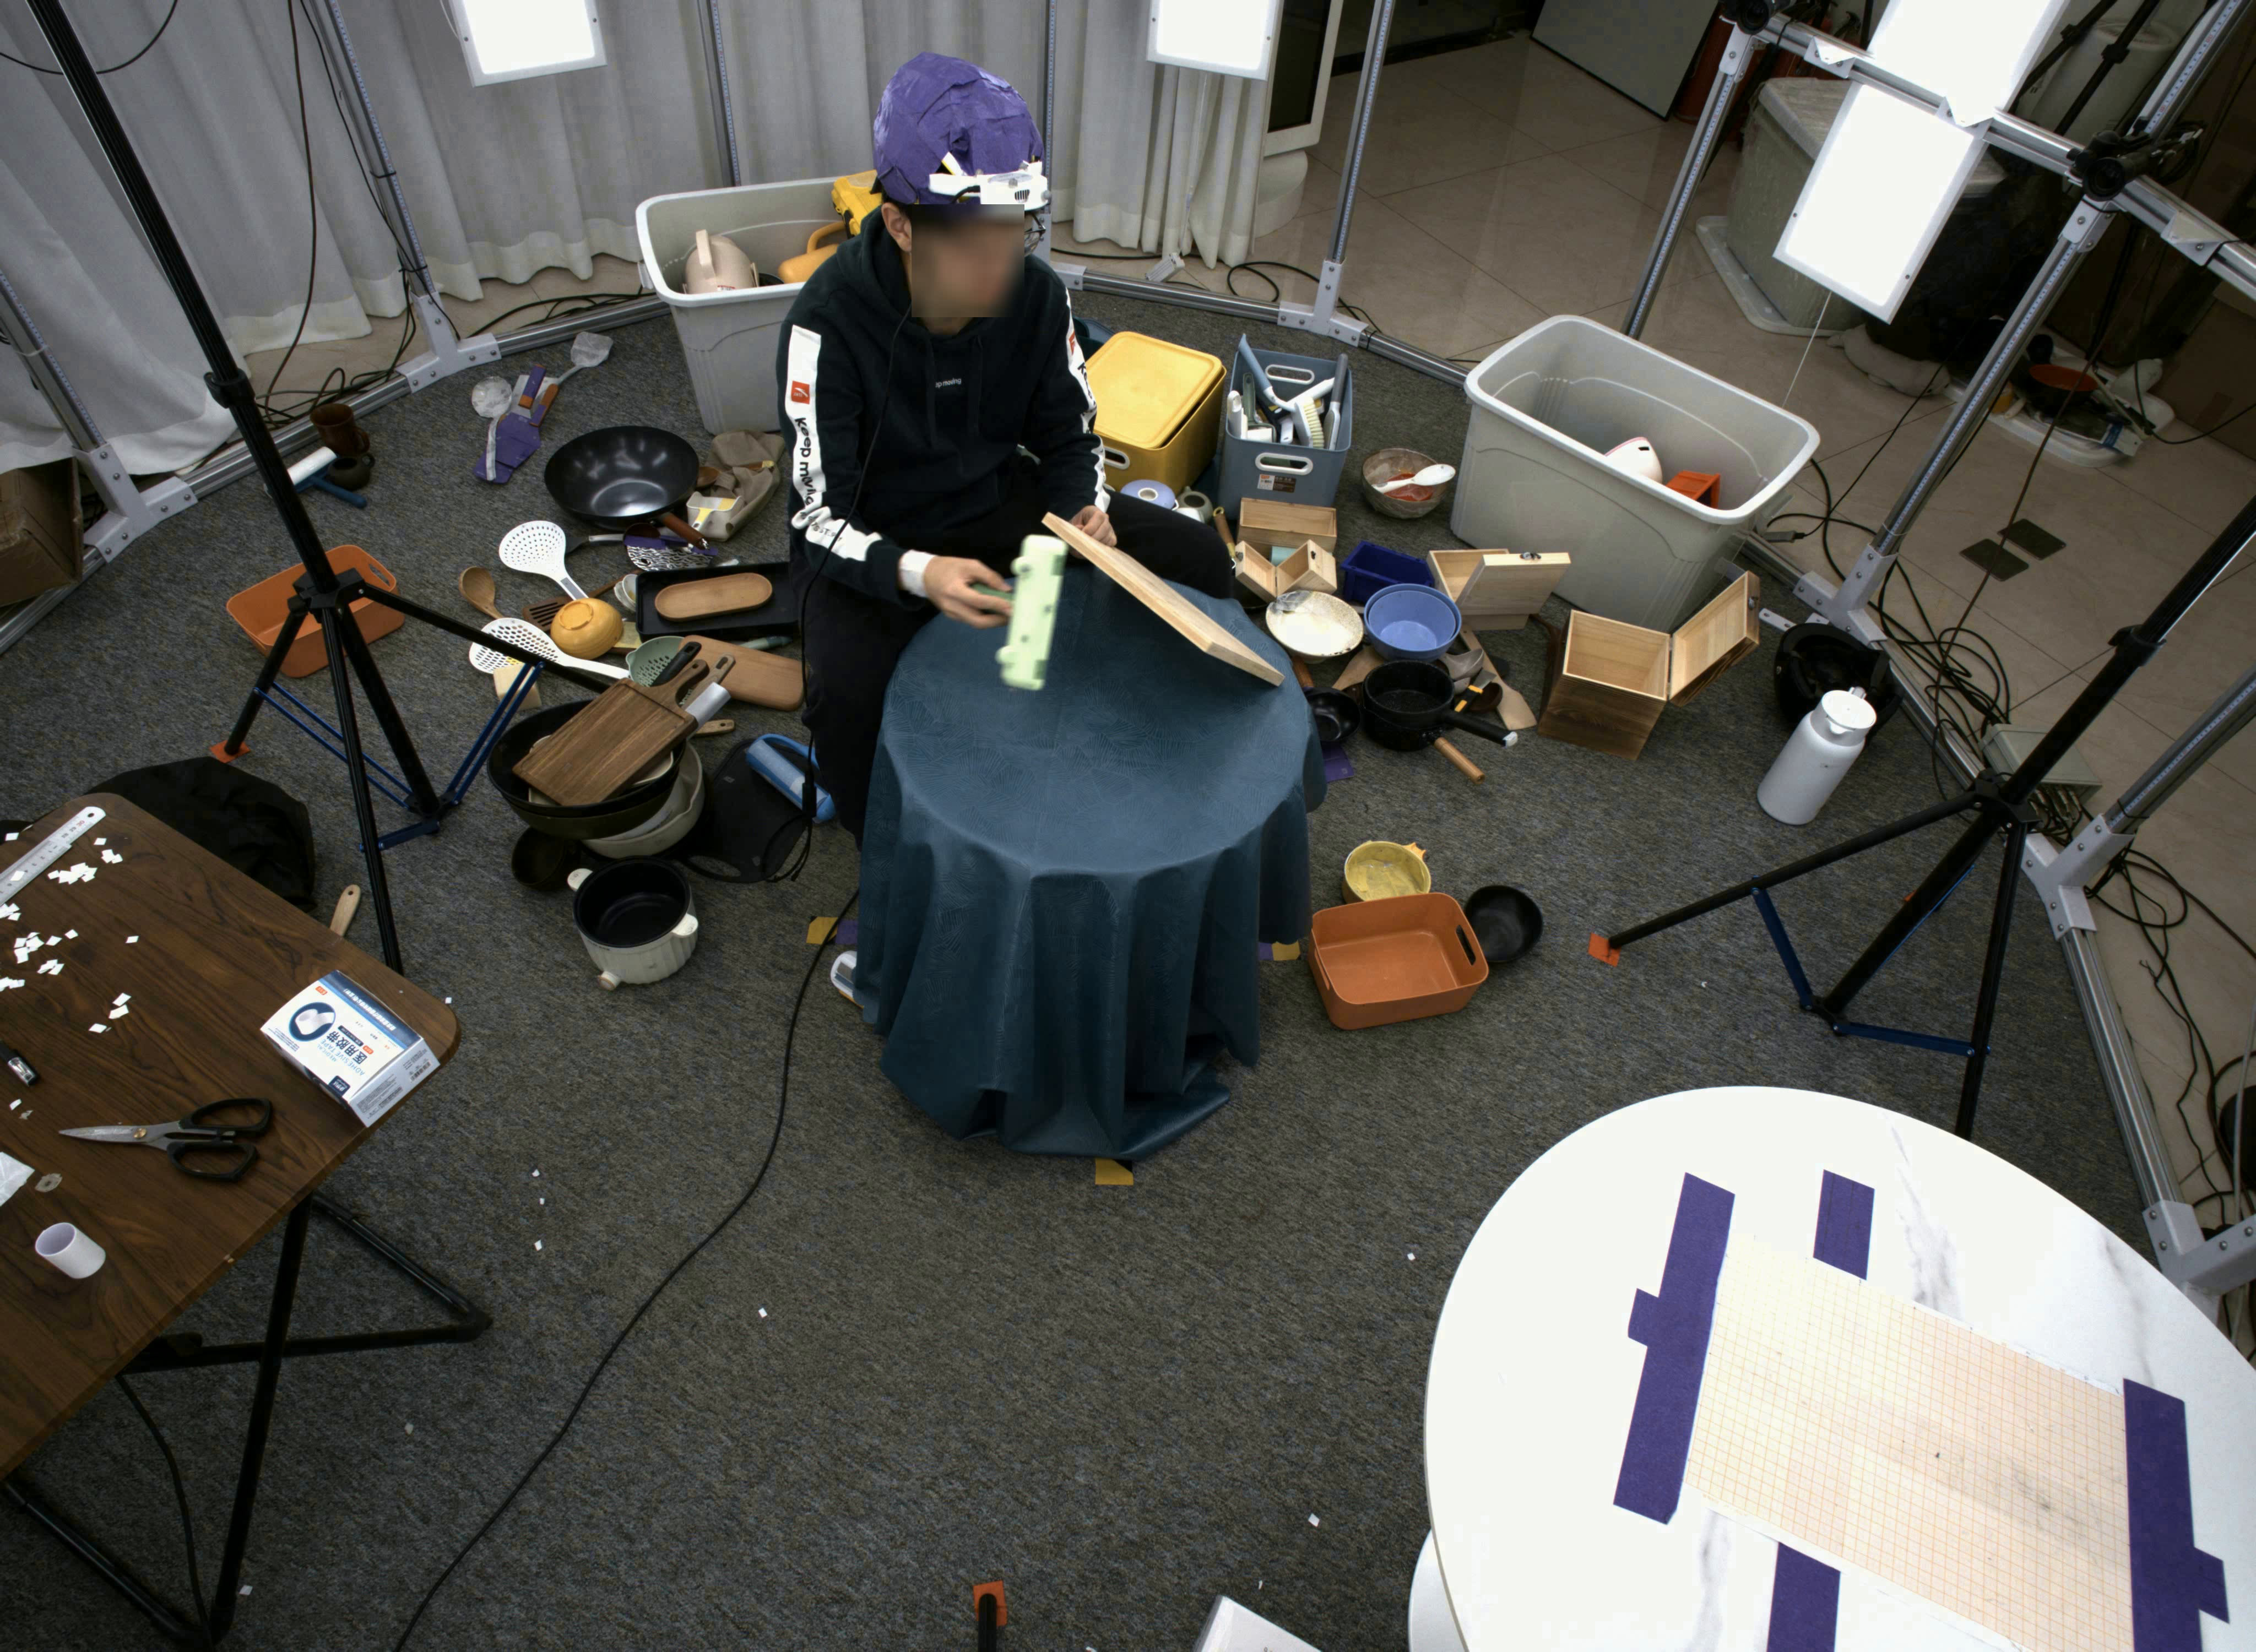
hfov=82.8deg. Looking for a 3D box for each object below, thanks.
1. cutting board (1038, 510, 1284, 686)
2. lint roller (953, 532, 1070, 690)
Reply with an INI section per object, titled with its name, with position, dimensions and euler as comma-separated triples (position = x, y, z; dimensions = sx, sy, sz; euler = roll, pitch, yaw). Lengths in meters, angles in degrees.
[cutting board]
position = 0.049, -0.324, 1.839
dimensions = 0.354, 0.023, 0.248
euler = 42, 15, 27
[lint roller]
position = -0.168, -0.292, 1.683
dimensions = 0.185, 0.196, 0.082
euler = 17, 15, 24
